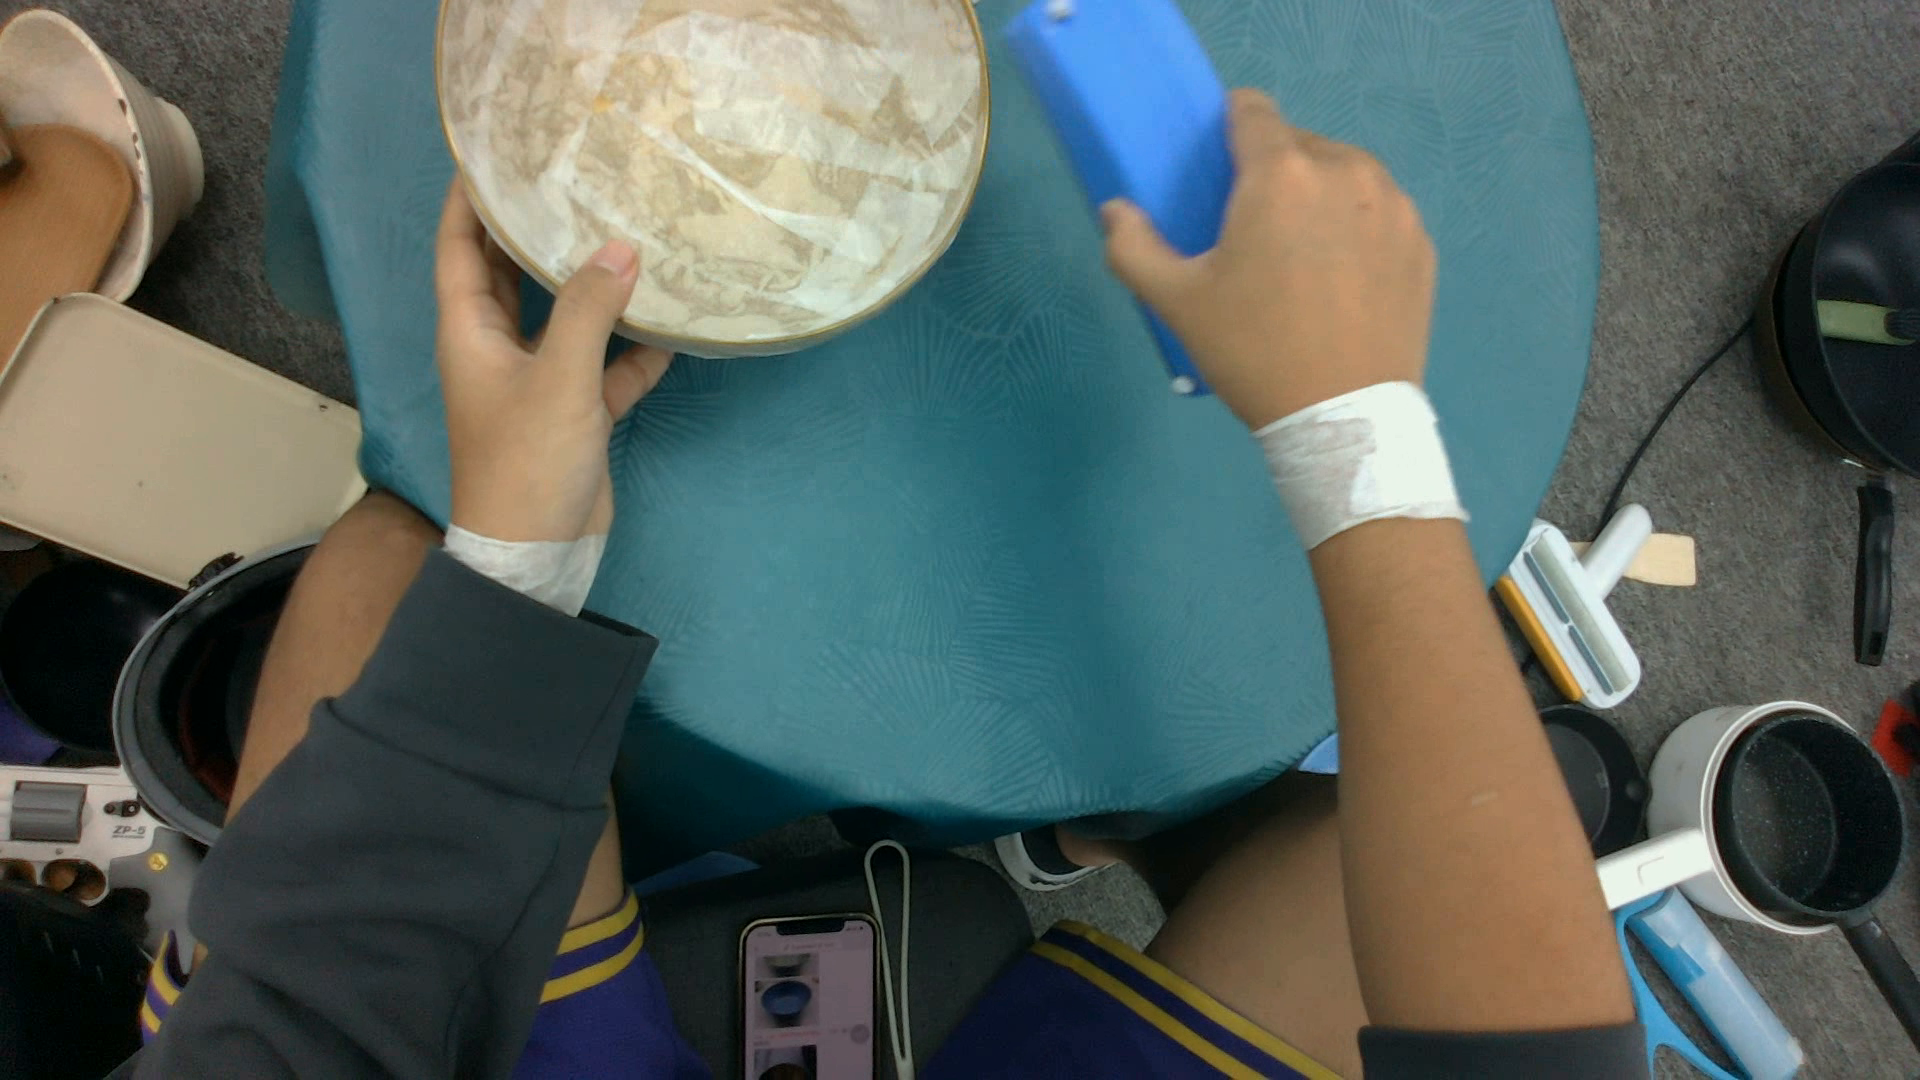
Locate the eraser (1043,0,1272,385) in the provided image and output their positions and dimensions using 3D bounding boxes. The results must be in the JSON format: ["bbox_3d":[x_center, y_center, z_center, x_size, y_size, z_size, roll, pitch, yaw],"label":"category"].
[{"bbox_3d":[0.079,-0.142,0.524,0.054,0.047,0.162,-16,97,-23],"label":"eraser"}]

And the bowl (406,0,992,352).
[{"bbox_3d":[-0.101,-0.164,0.541,0.215,0.094,0.215,2,82,-15],"label":"bowl"}]
